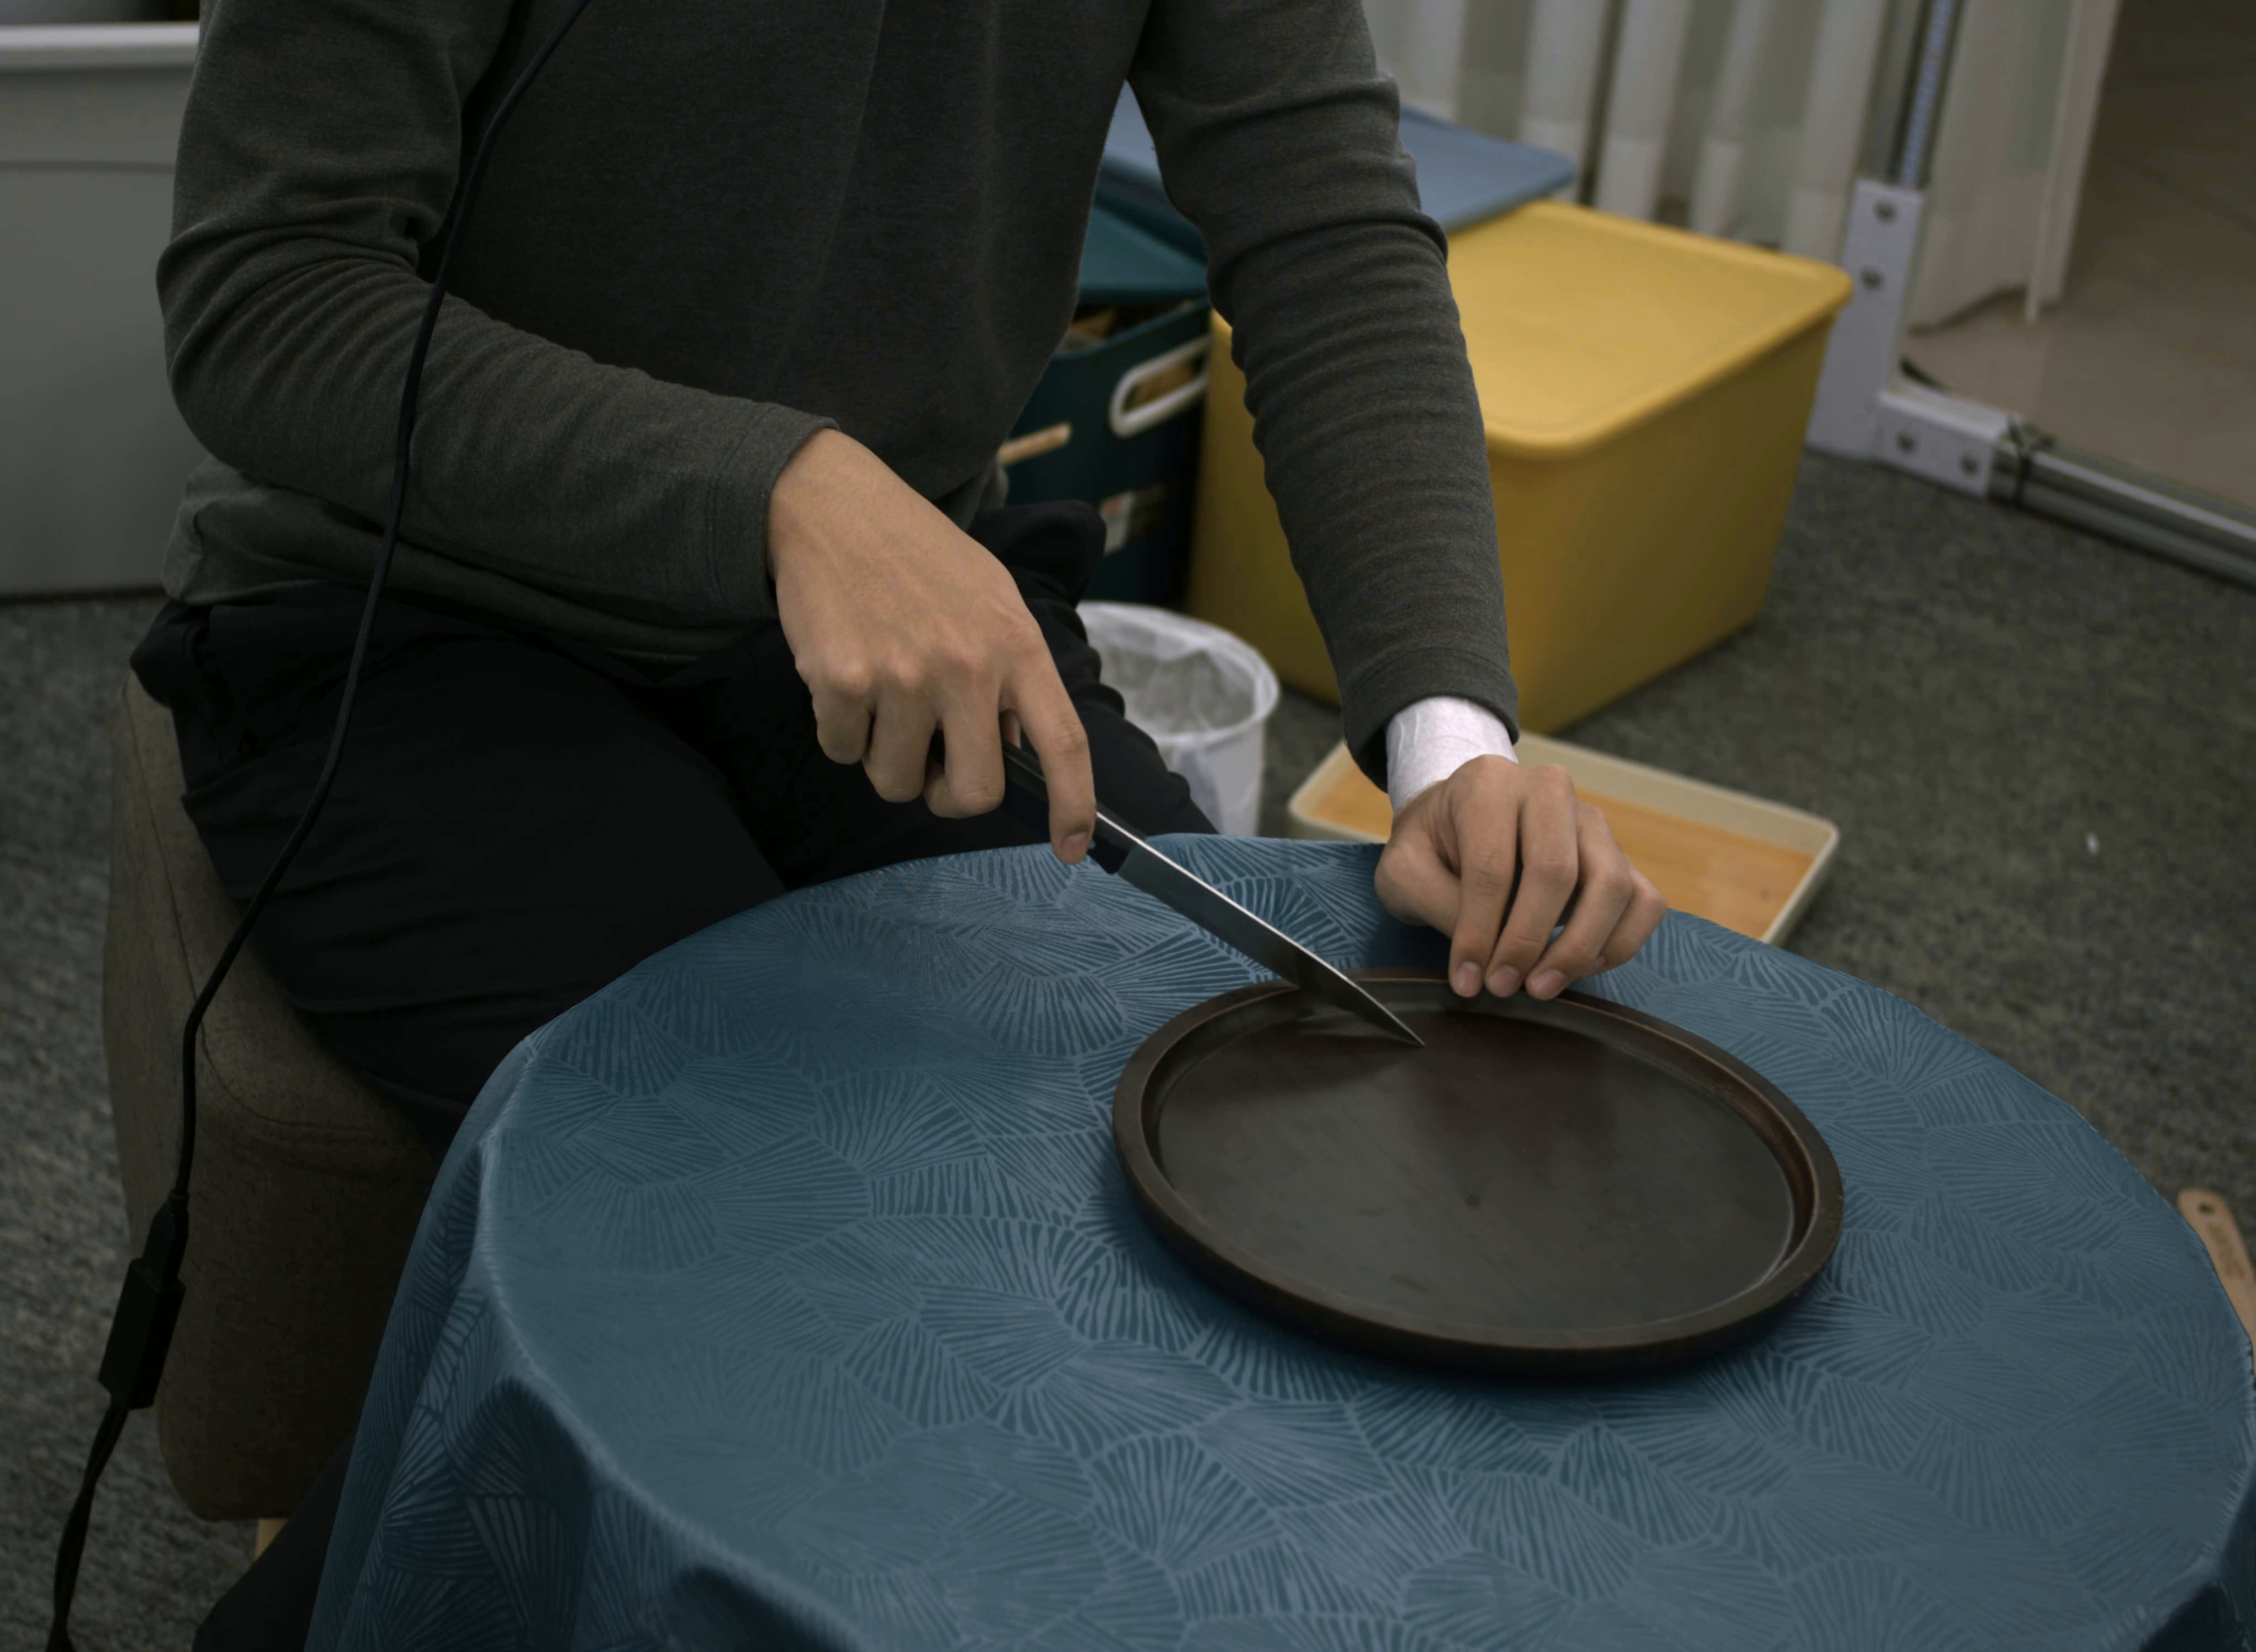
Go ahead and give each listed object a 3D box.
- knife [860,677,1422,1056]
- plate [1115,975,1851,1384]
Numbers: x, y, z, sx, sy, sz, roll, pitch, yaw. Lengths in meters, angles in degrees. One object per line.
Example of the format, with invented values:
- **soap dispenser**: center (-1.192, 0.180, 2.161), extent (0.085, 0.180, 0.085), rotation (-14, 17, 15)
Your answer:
- **knife**: center (0.007, 0.015, 1.900), extent (0.238, 0.024, 0.016), rotation (33, 48, 3)
- **plate**: center (0.120, 0.118, 1.818), extent (0.254, 0.029, 0.256), rotation (6, 27, -3)
